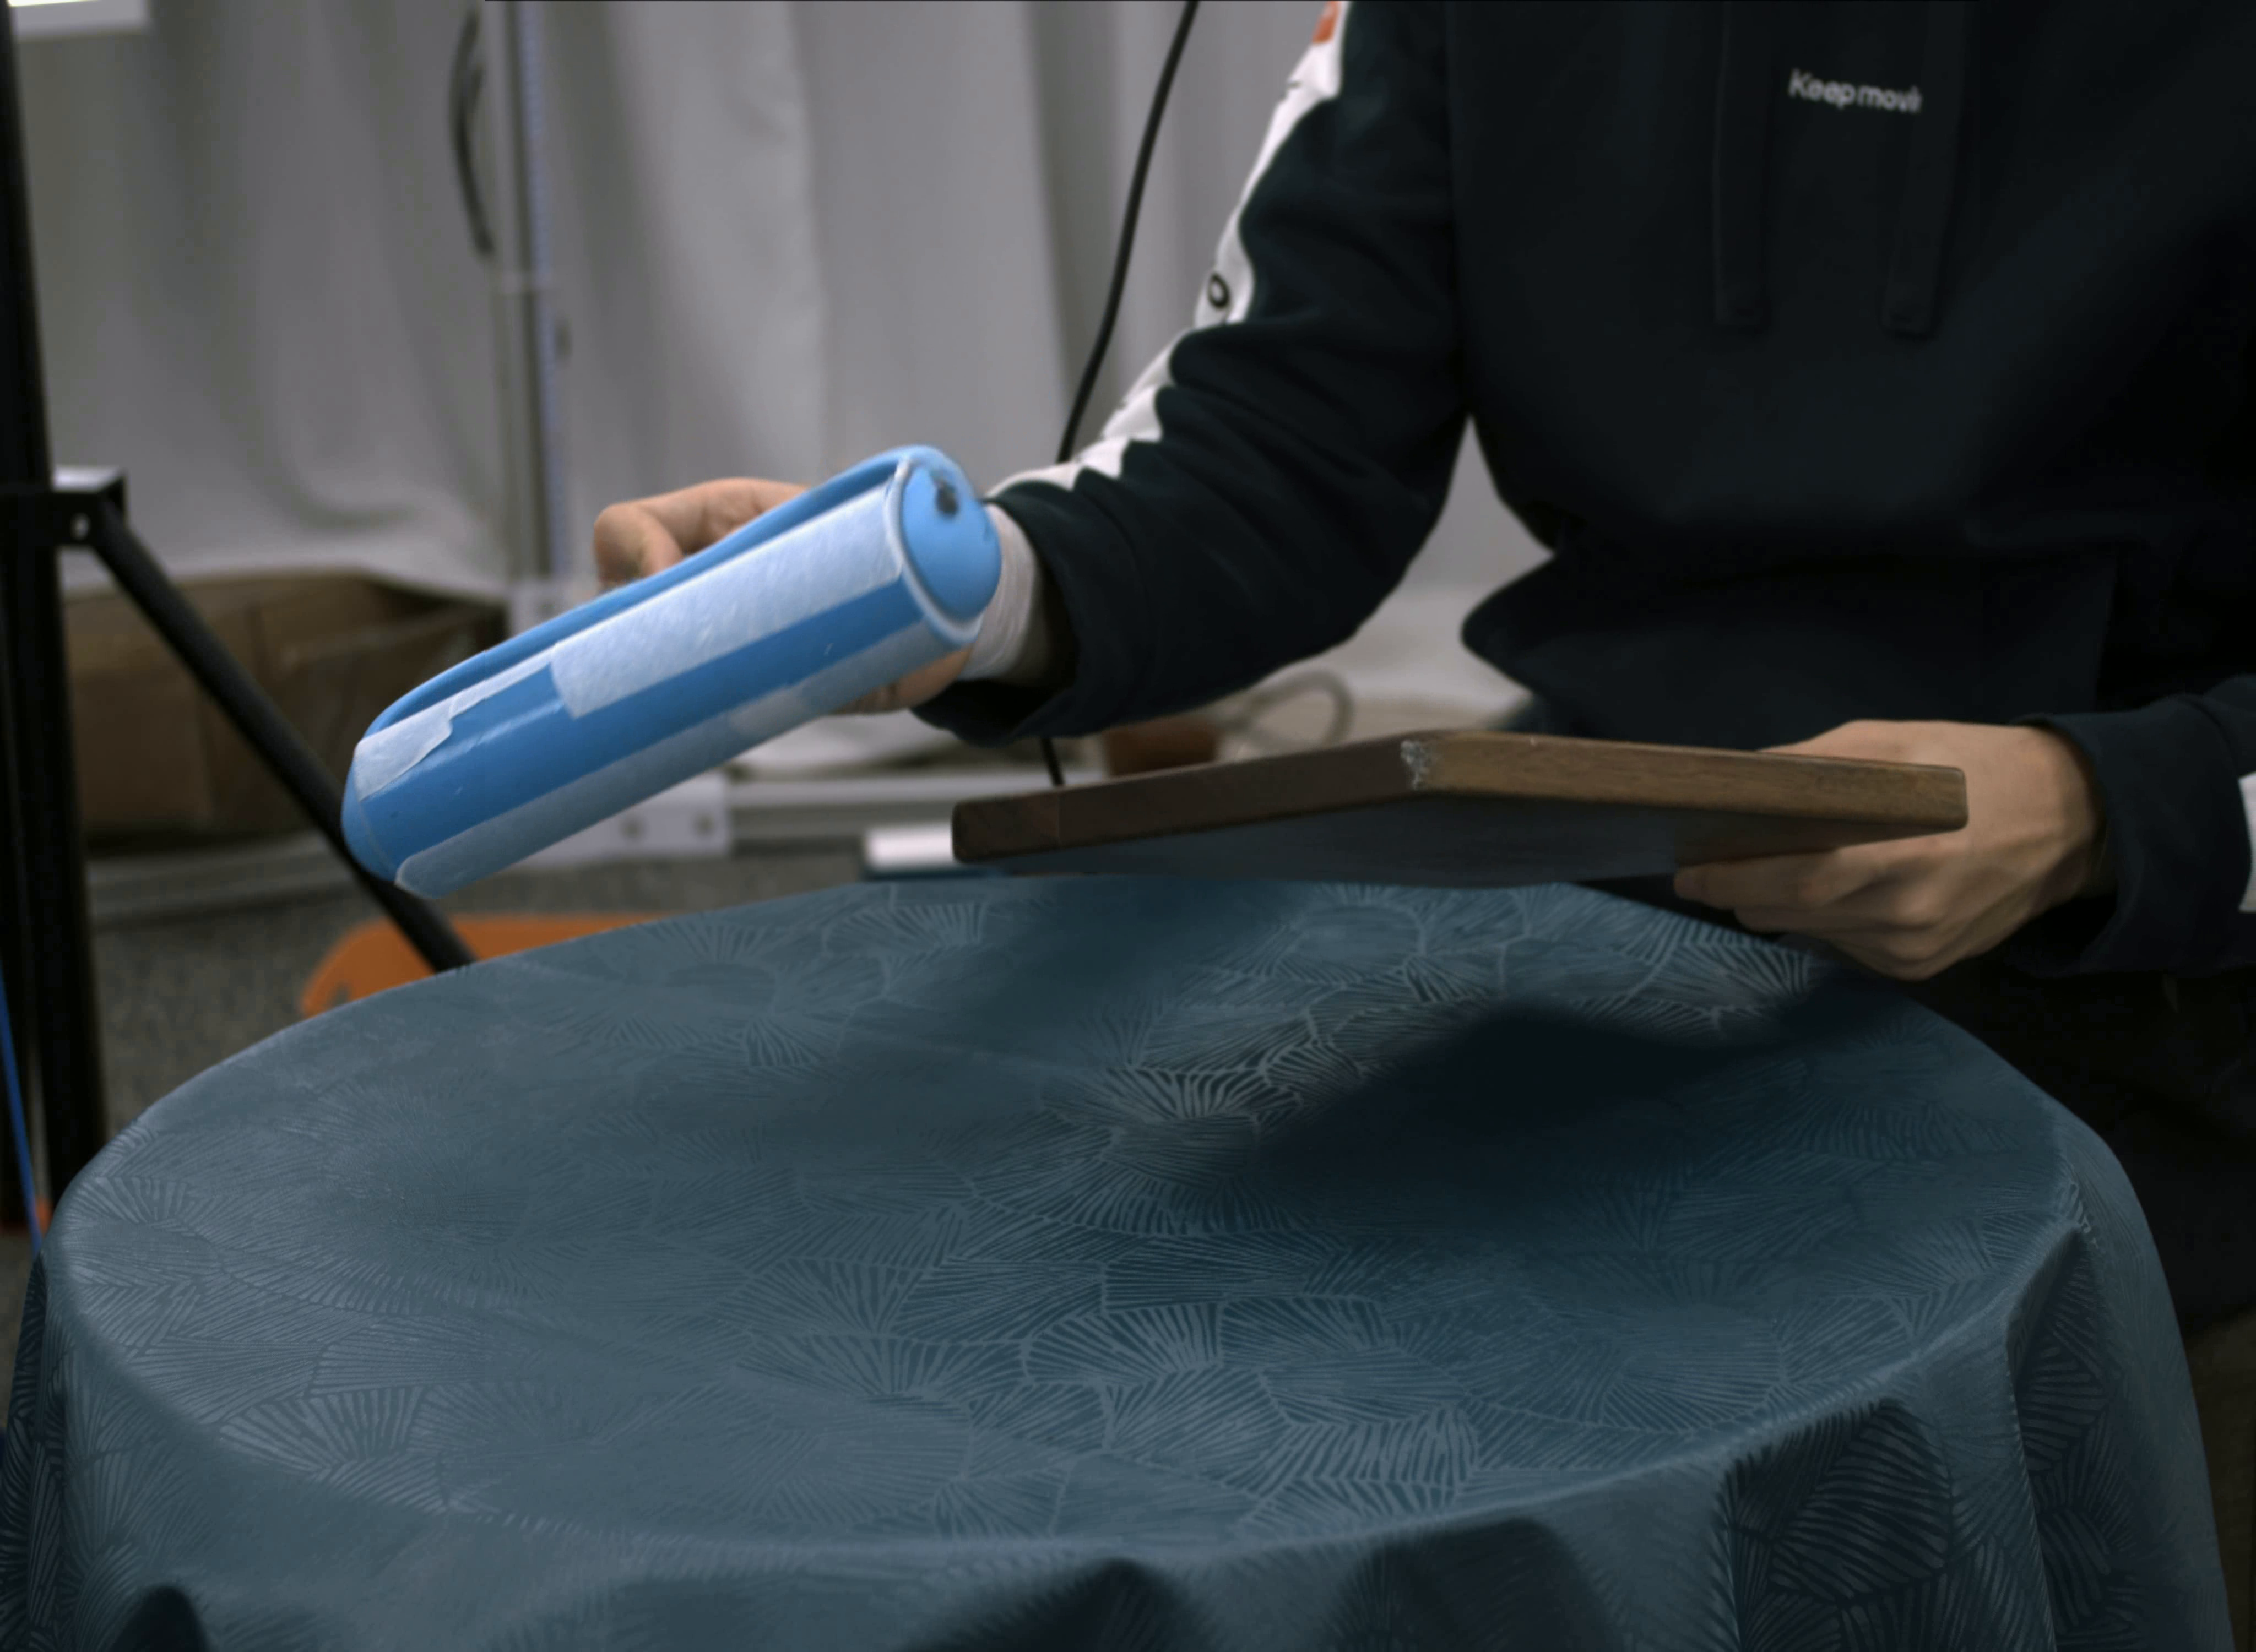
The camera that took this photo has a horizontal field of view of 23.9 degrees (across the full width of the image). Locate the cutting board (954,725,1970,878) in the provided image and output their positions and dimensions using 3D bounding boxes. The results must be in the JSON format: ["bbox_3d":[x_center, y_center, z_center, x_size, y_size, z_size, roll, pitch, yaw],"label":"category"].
[{"bbox_3d":[0.135,-0.003,1.611,0.205,0.023,0.343,-6,-7,44],"label":"cutting board"}]

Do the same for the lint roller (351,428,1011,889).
[{"bbox_3d":[-0.121,-0.056,1.639,0.230,0.068,0.178,-28,3,18],"label":"lint roller"}]
